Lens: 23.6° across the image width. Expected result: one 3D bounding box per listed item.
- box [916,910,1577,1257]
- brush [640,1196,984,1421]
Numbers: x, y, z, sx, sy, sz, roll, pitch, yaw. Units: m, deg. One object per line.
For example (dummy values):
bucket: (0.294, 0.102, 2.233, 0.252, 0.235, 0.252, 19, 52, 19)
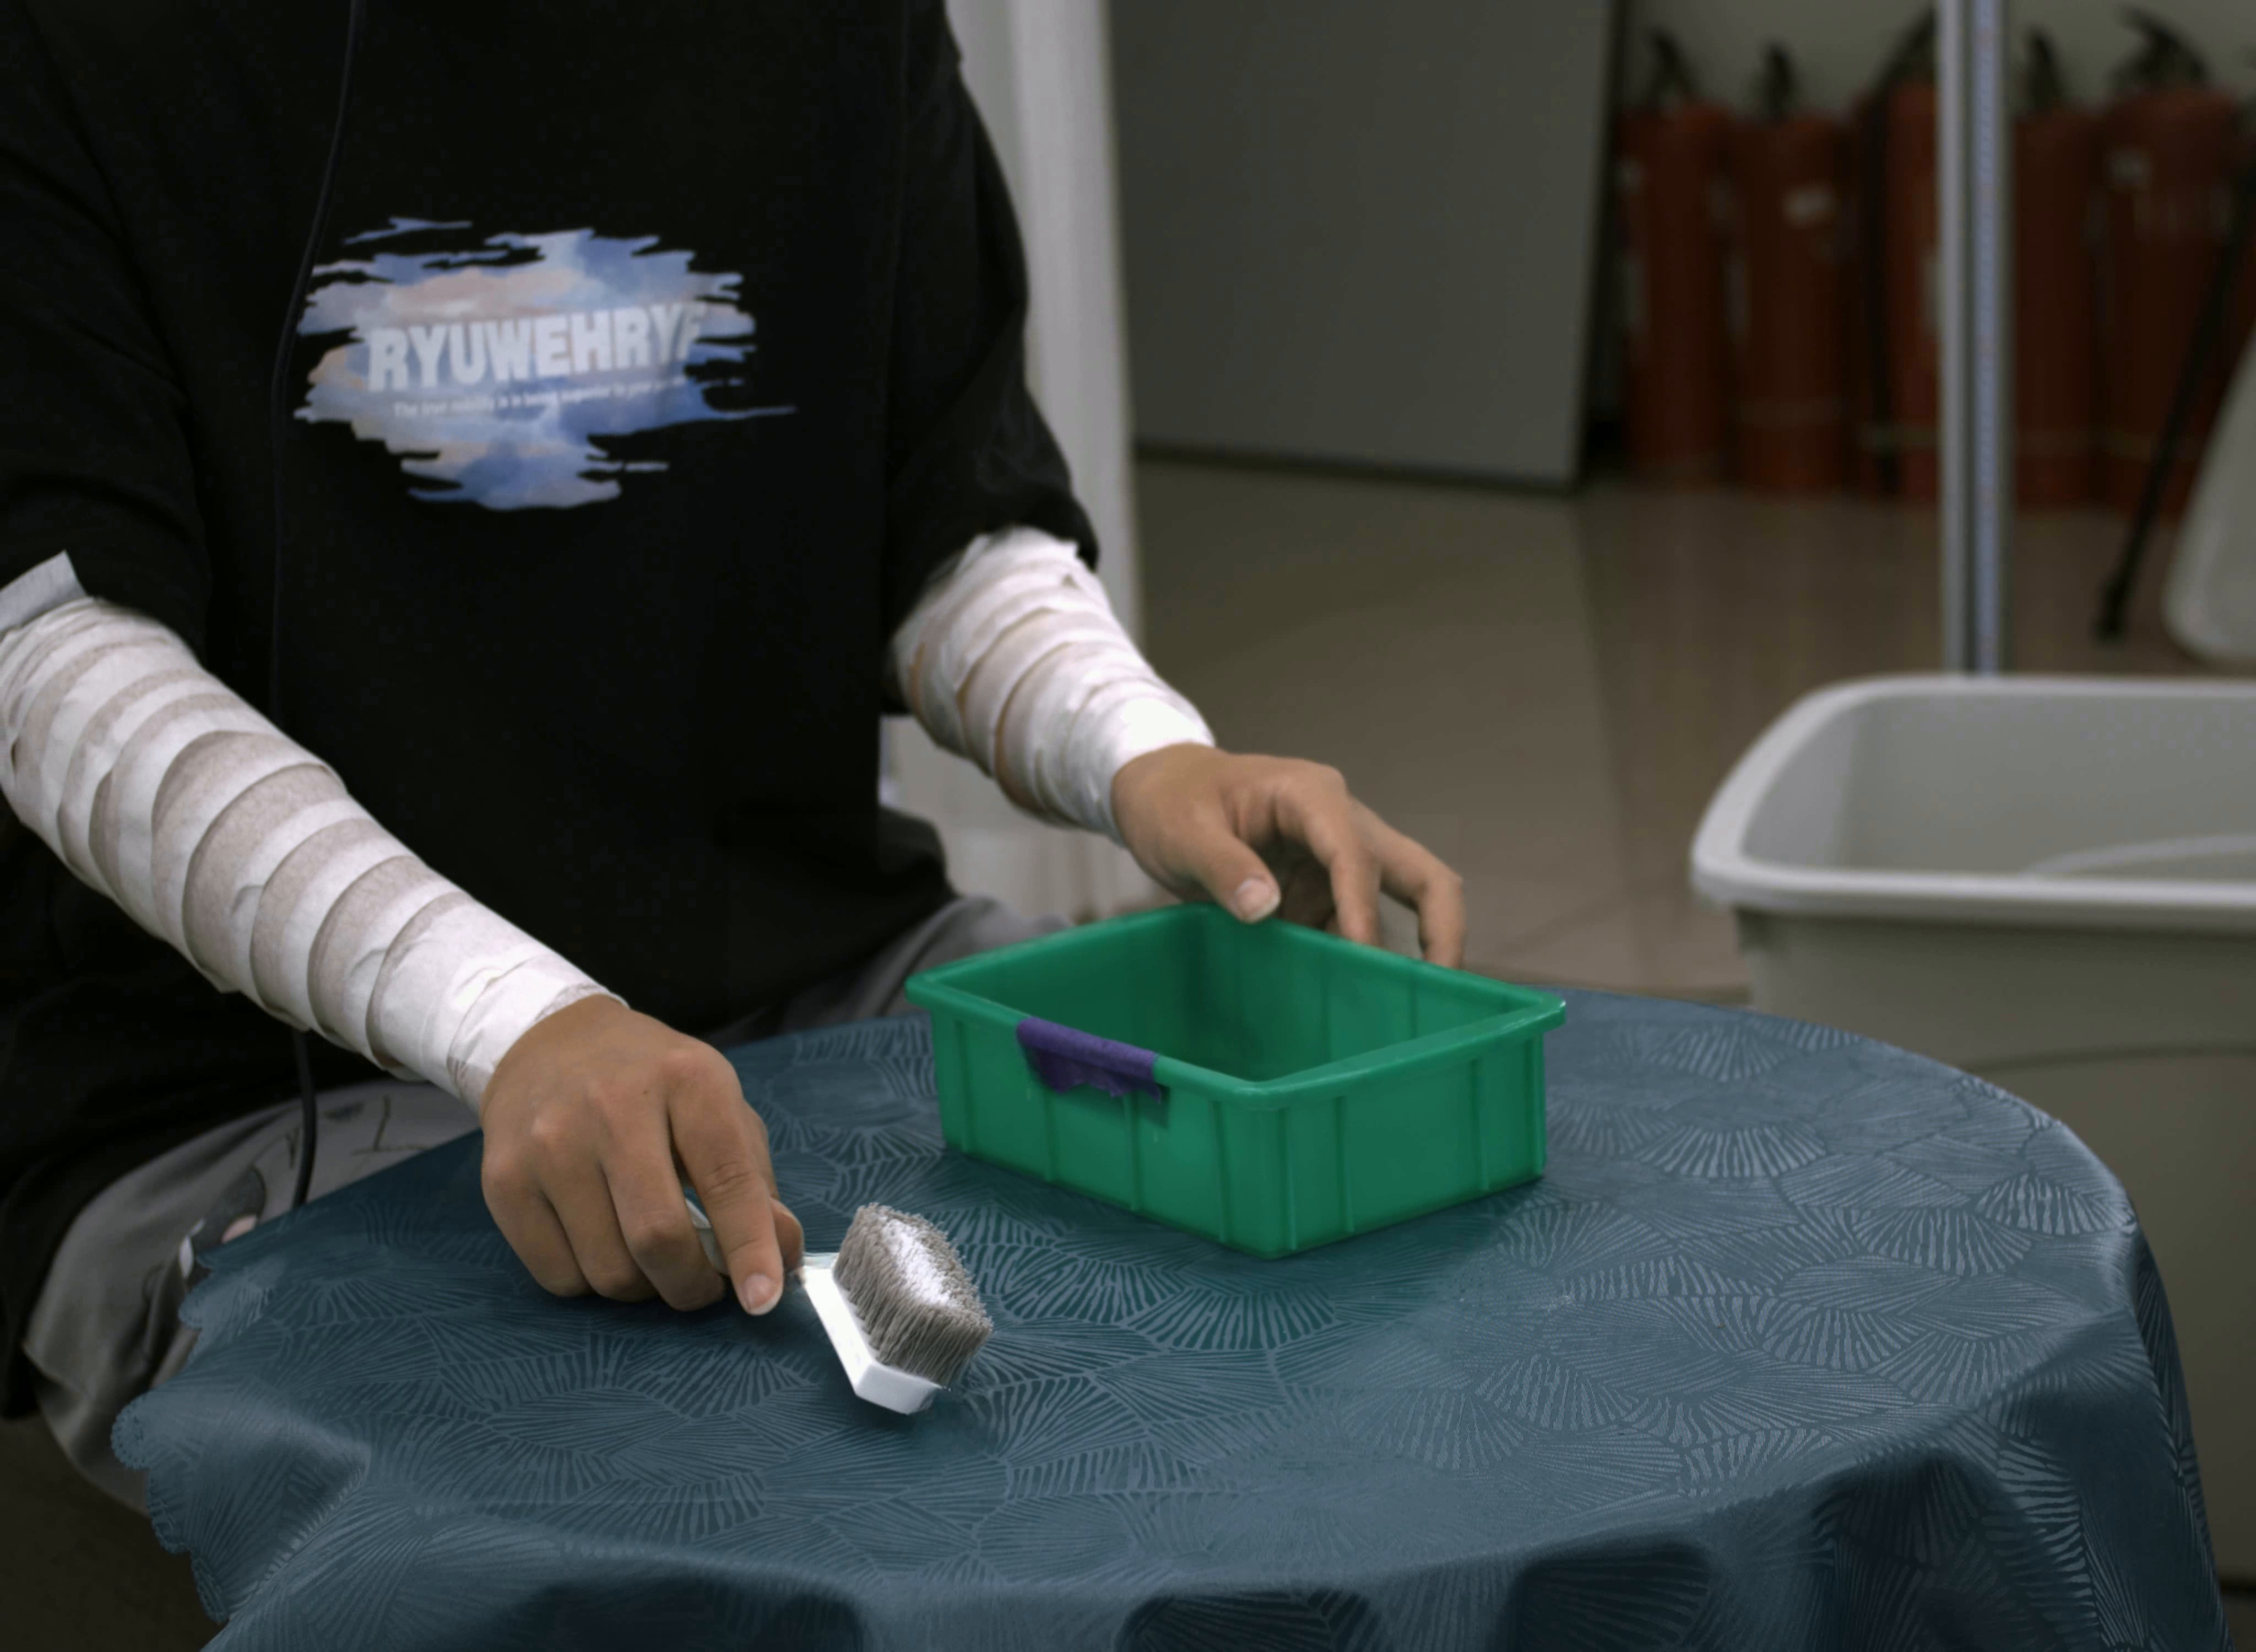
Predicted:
box: (0.040, 0.084, 1.785, 0.136, 0.066, 0.212, -16, 17, -35)
brush: (-0.101, 0.128, 1.665, 0.033, 0.051, 0.246, 17, 3, -24)
